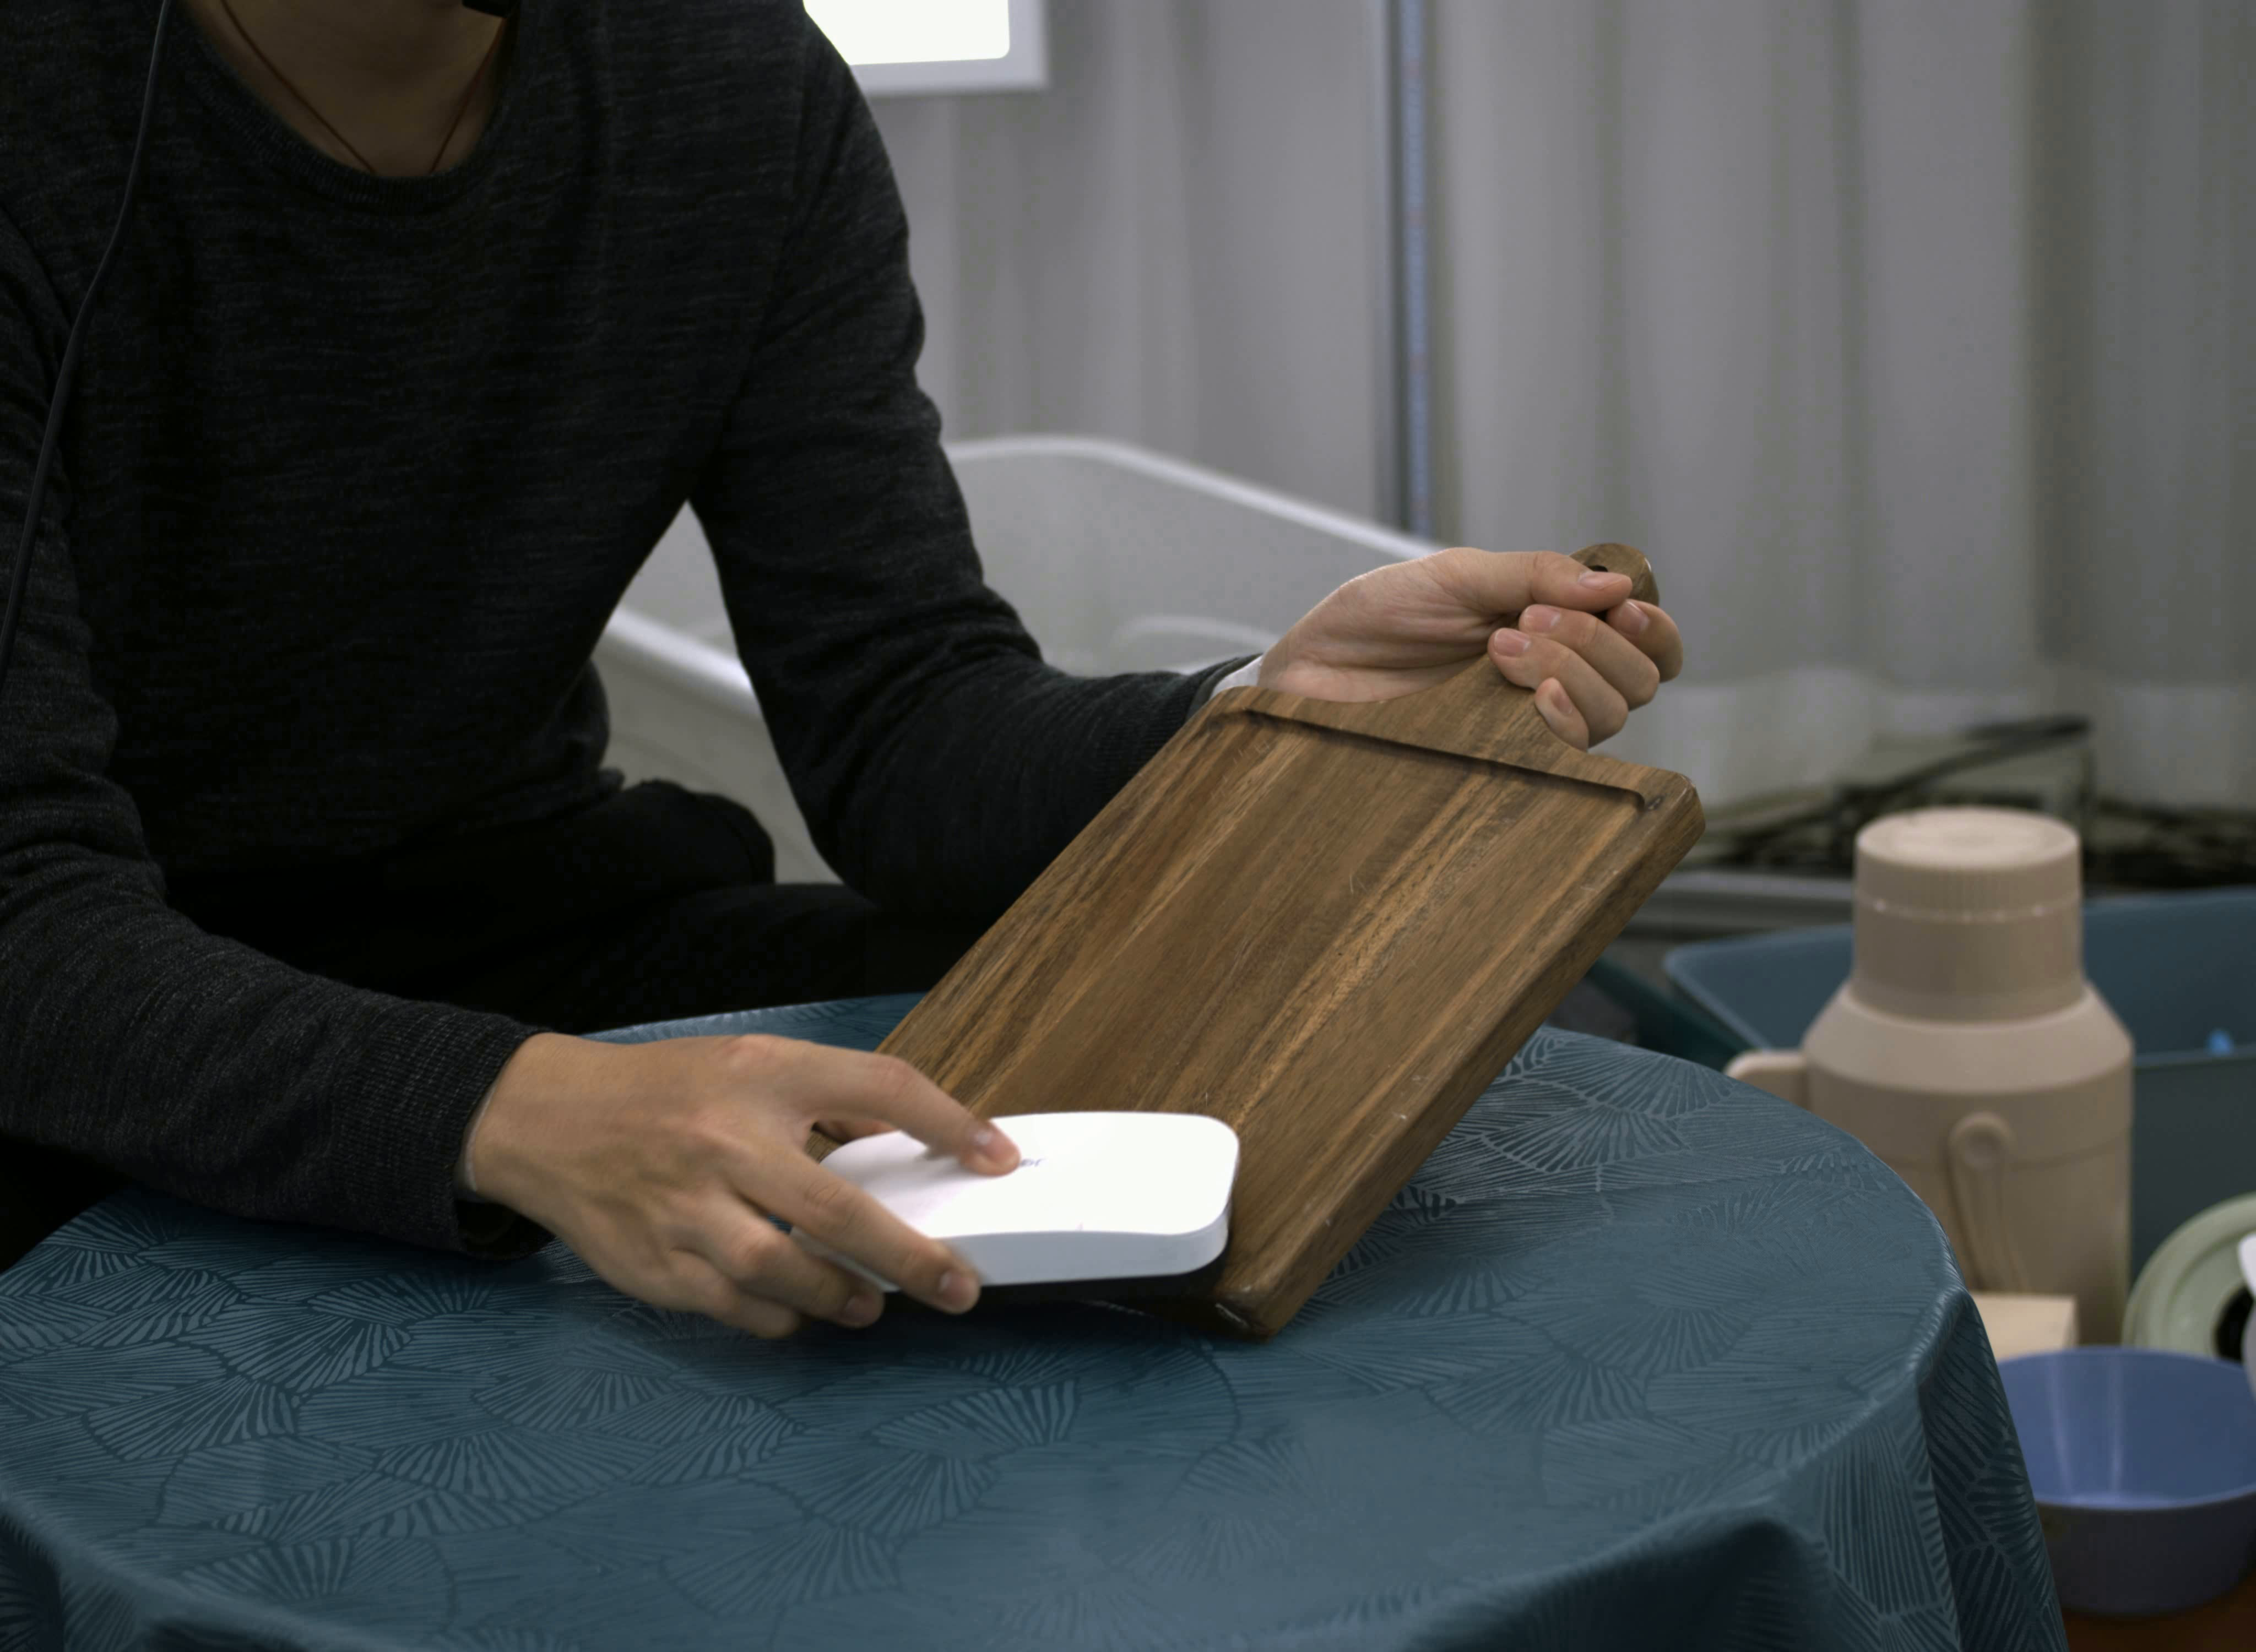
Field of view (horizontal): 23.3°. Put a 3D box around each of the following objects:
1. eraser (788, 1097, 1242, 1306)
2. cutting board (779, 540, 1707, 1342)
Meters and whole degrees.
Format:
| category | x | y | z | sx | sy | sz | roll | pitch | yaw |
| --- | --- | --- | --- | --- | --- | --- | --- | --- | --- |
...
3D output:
| category | x | y | z | sx | sy | sz | roll | pitch | yaw |
| --- | --- | --- | --- | --- | --- | --- | --- | --- | --- |
| eraser | -0.032 | 0.111 | 1.601 | 0.131 | 0.034 | 0.064 | -3 | 30 | 14 |
| cutting board | 0.065 | 0.021 | 1.724 | 0.202 | 0.023 | 0.354 | 12 | 46 | 38 |
